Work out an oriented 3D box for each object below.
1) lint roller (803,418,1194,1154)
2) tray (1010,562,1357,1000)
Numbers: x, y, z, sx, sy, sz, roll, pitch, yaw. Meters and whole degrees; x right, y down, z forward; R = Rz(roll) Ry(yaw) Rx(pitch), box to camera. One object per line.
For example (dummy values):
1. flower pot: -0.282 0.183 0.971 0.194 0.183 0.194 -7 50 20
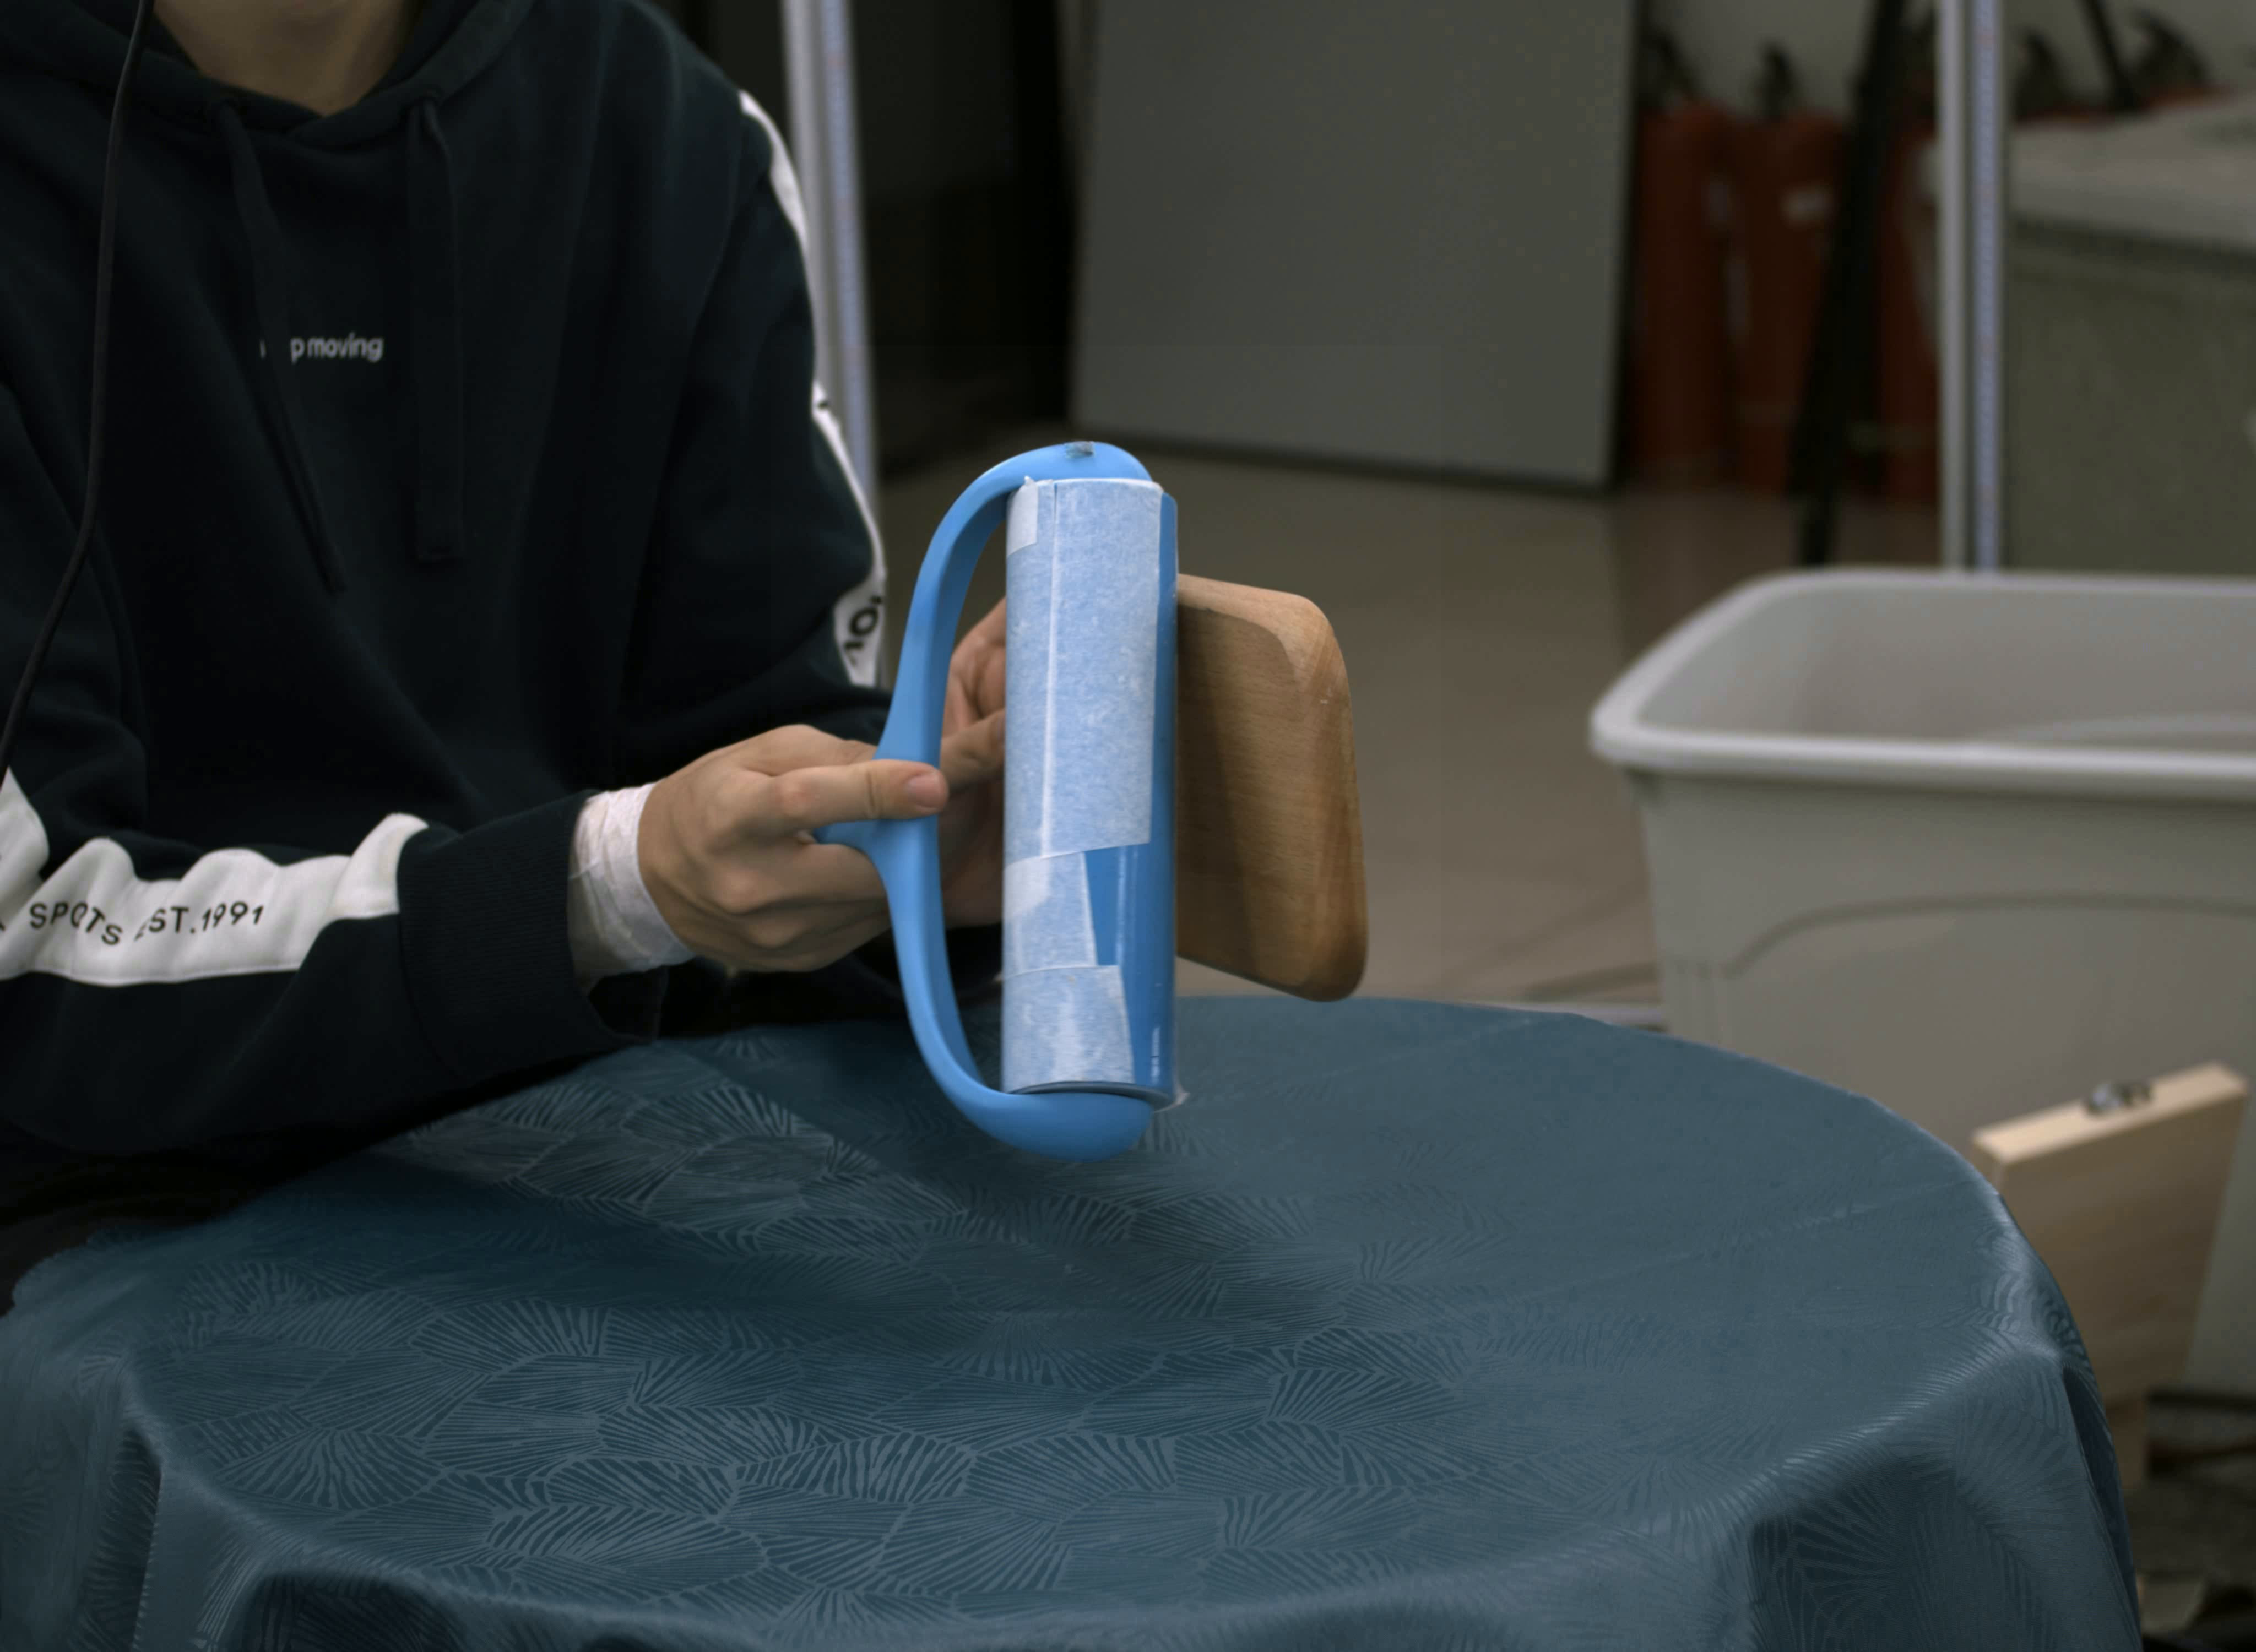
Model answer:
1. lint roller: -0.054 -0.001 1.697 0.181 0.232 0.066 -16 -19 39
2. tray: 0.012 -0.019 1.727 0.022 0.132 0.253 -4 6 -23
